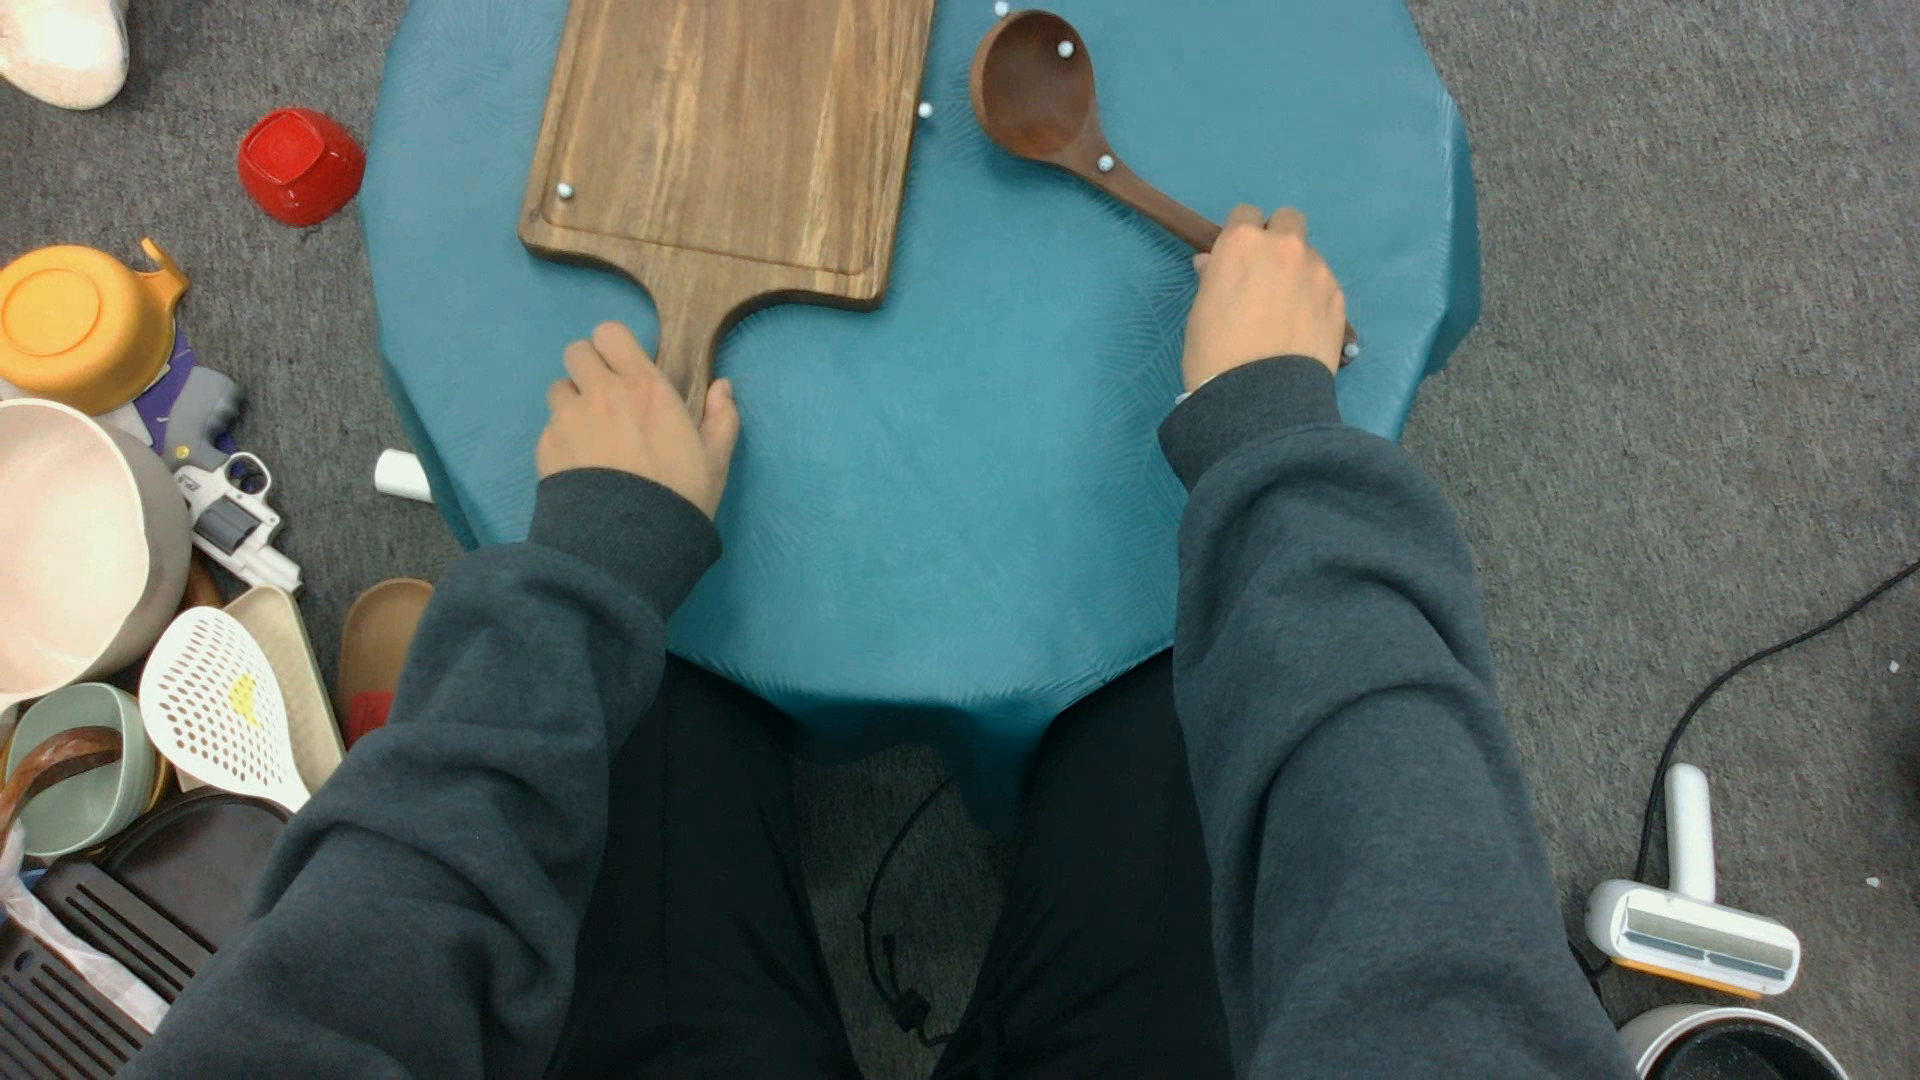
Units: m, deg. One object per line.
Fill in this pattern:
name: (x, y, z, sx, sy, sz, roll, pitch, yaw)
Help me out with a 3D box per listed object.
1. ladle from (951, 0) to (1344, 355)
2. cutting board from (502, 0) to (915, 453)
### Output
ladle: (0.104, -0.189, 0.732, 0.260, 0.065, 0.076, 40, 86, 5)
cutting board: (-0.136, -0.218, 0.746, 0.201, 0.023, 0.353, 8, 77, 0)
